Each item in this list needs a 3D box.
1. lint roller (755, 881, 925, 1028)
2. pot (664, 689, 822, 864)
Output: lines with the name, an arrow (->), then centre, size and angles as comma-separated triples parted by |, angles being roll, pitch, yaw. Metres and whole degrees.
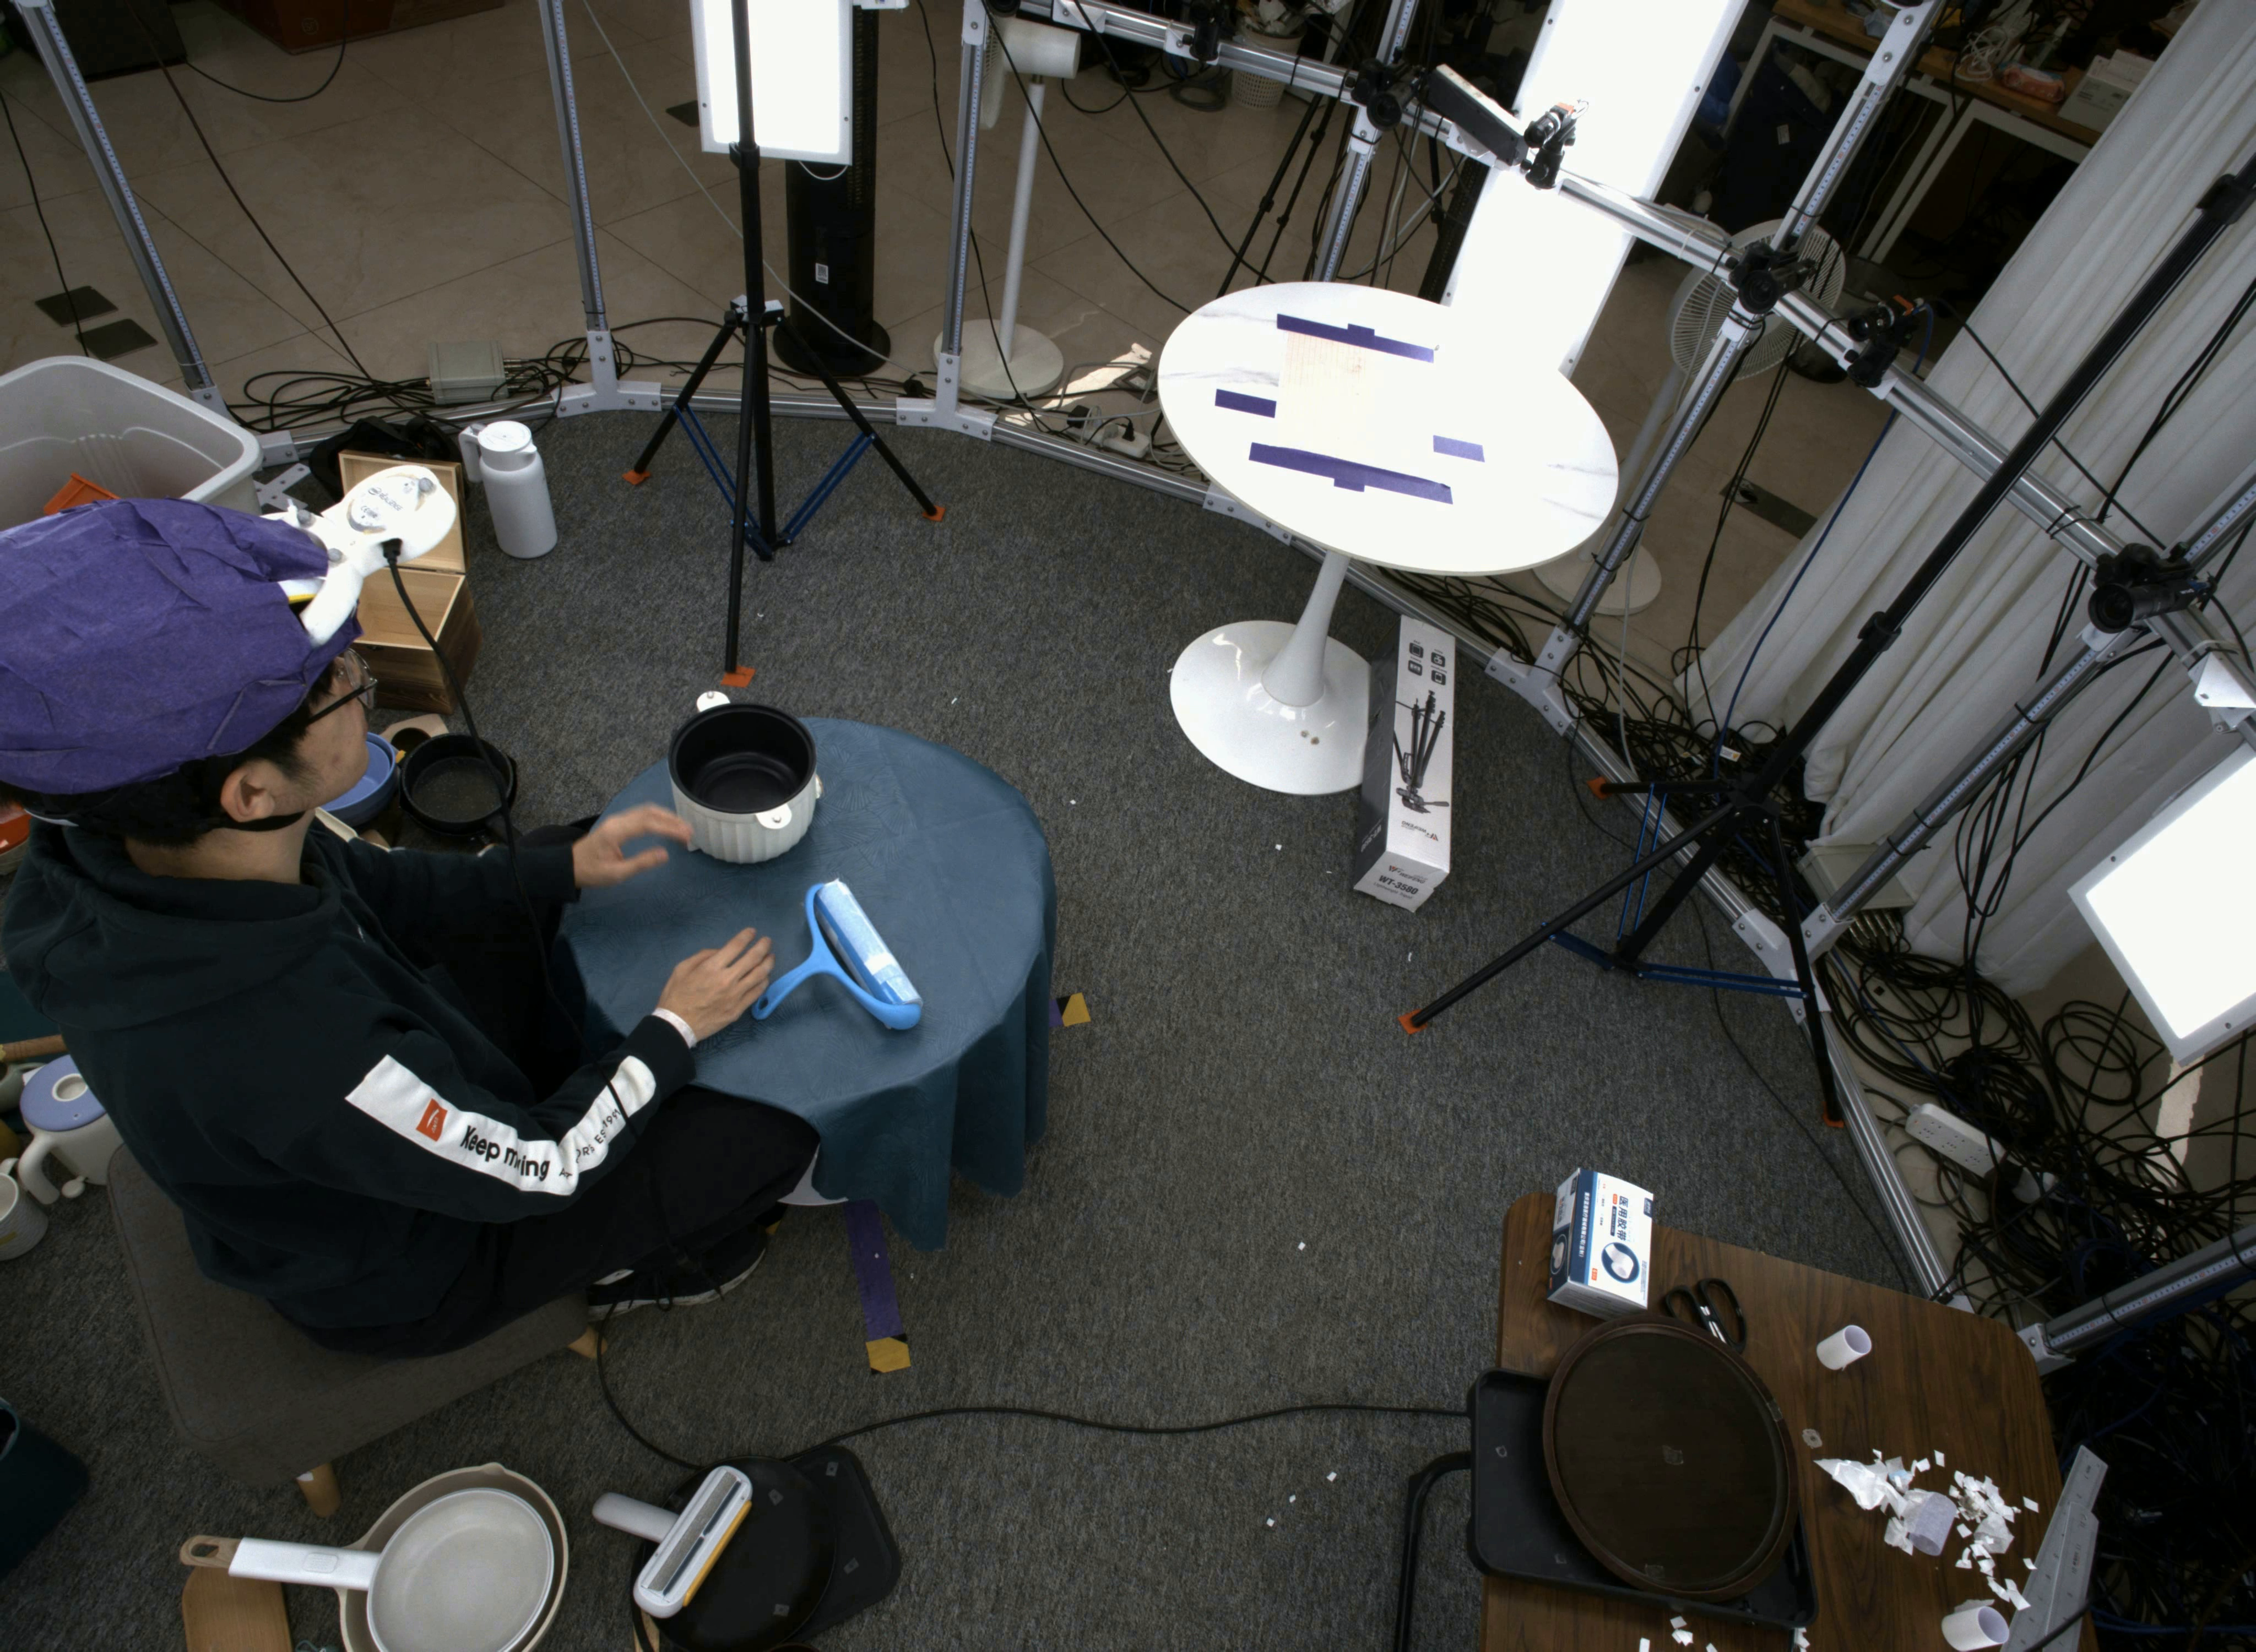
lint roller -> -0.369, 0.177, 1.577 | 0.181, 0.069, 0.224 | -28, 67, -31
pot -> -0.489, -0.053, 1.662 | 0.191, 0.145, 0.235 | -25, 64, -25
